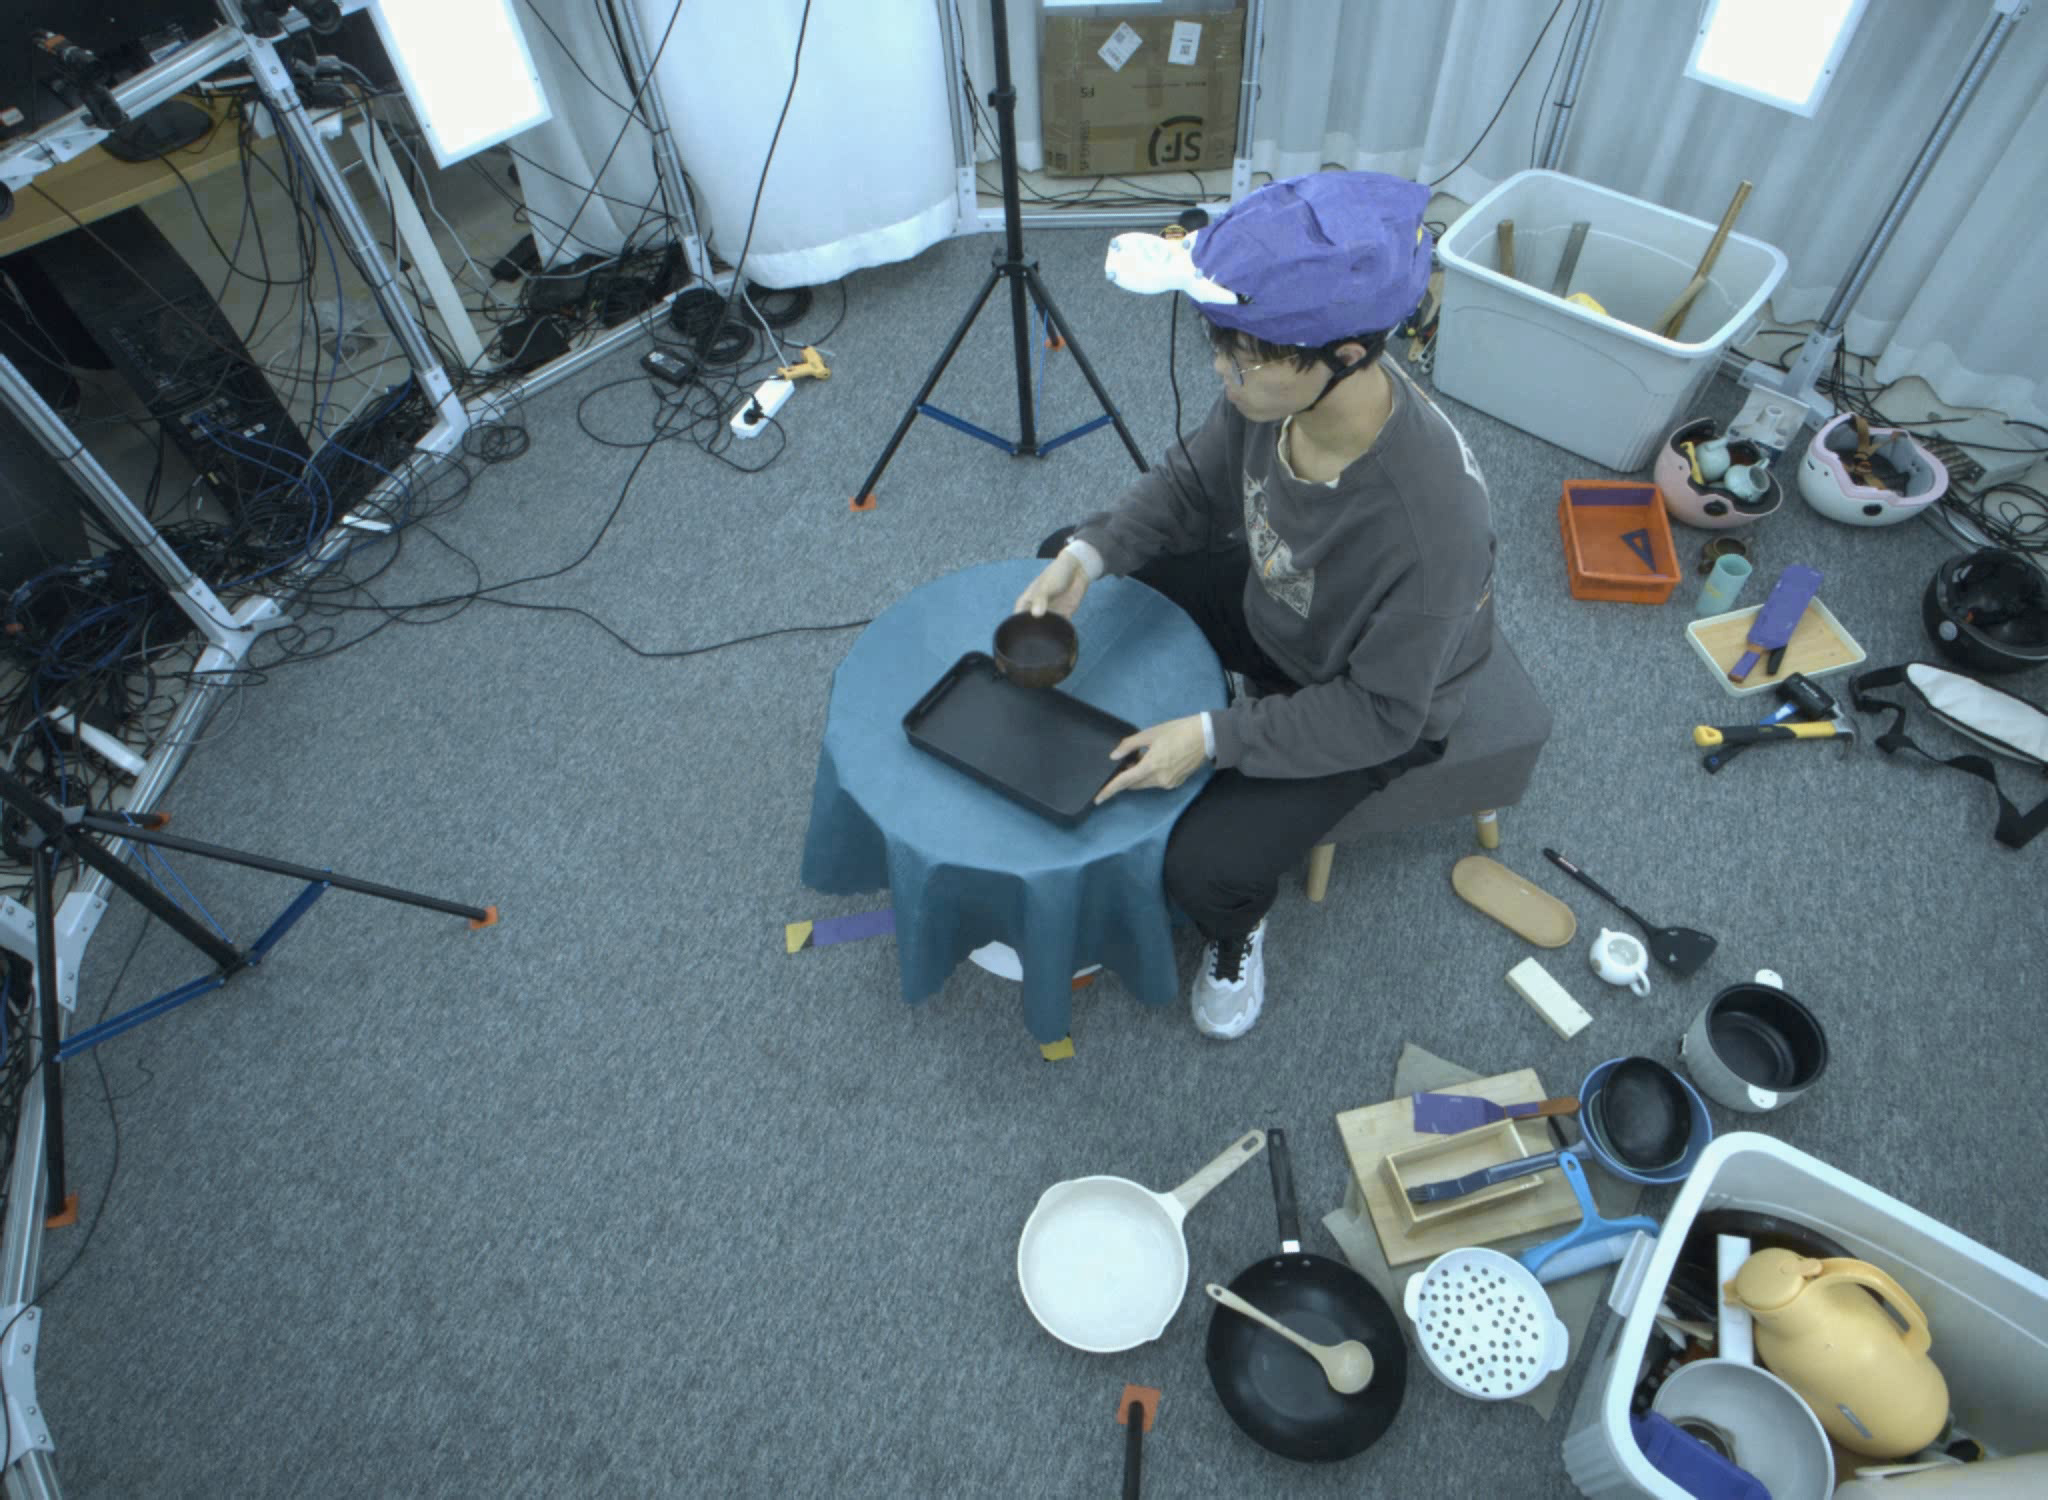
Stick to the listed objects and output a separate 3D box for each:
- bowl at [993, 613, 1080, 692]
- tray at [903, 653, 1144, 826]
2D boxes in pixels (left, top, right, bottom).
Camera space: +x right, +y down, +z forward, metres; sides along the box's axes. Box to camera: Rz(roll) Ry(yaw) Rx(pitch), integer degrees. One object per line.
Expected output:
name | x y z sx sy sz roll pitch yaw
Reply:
bowl | 0.018 -0.125 1.681 0.118 0.070 0.117 0 47 1
tray | -0.001 -0.020 1.768 0.312 0.037 0.185 25 57 23
